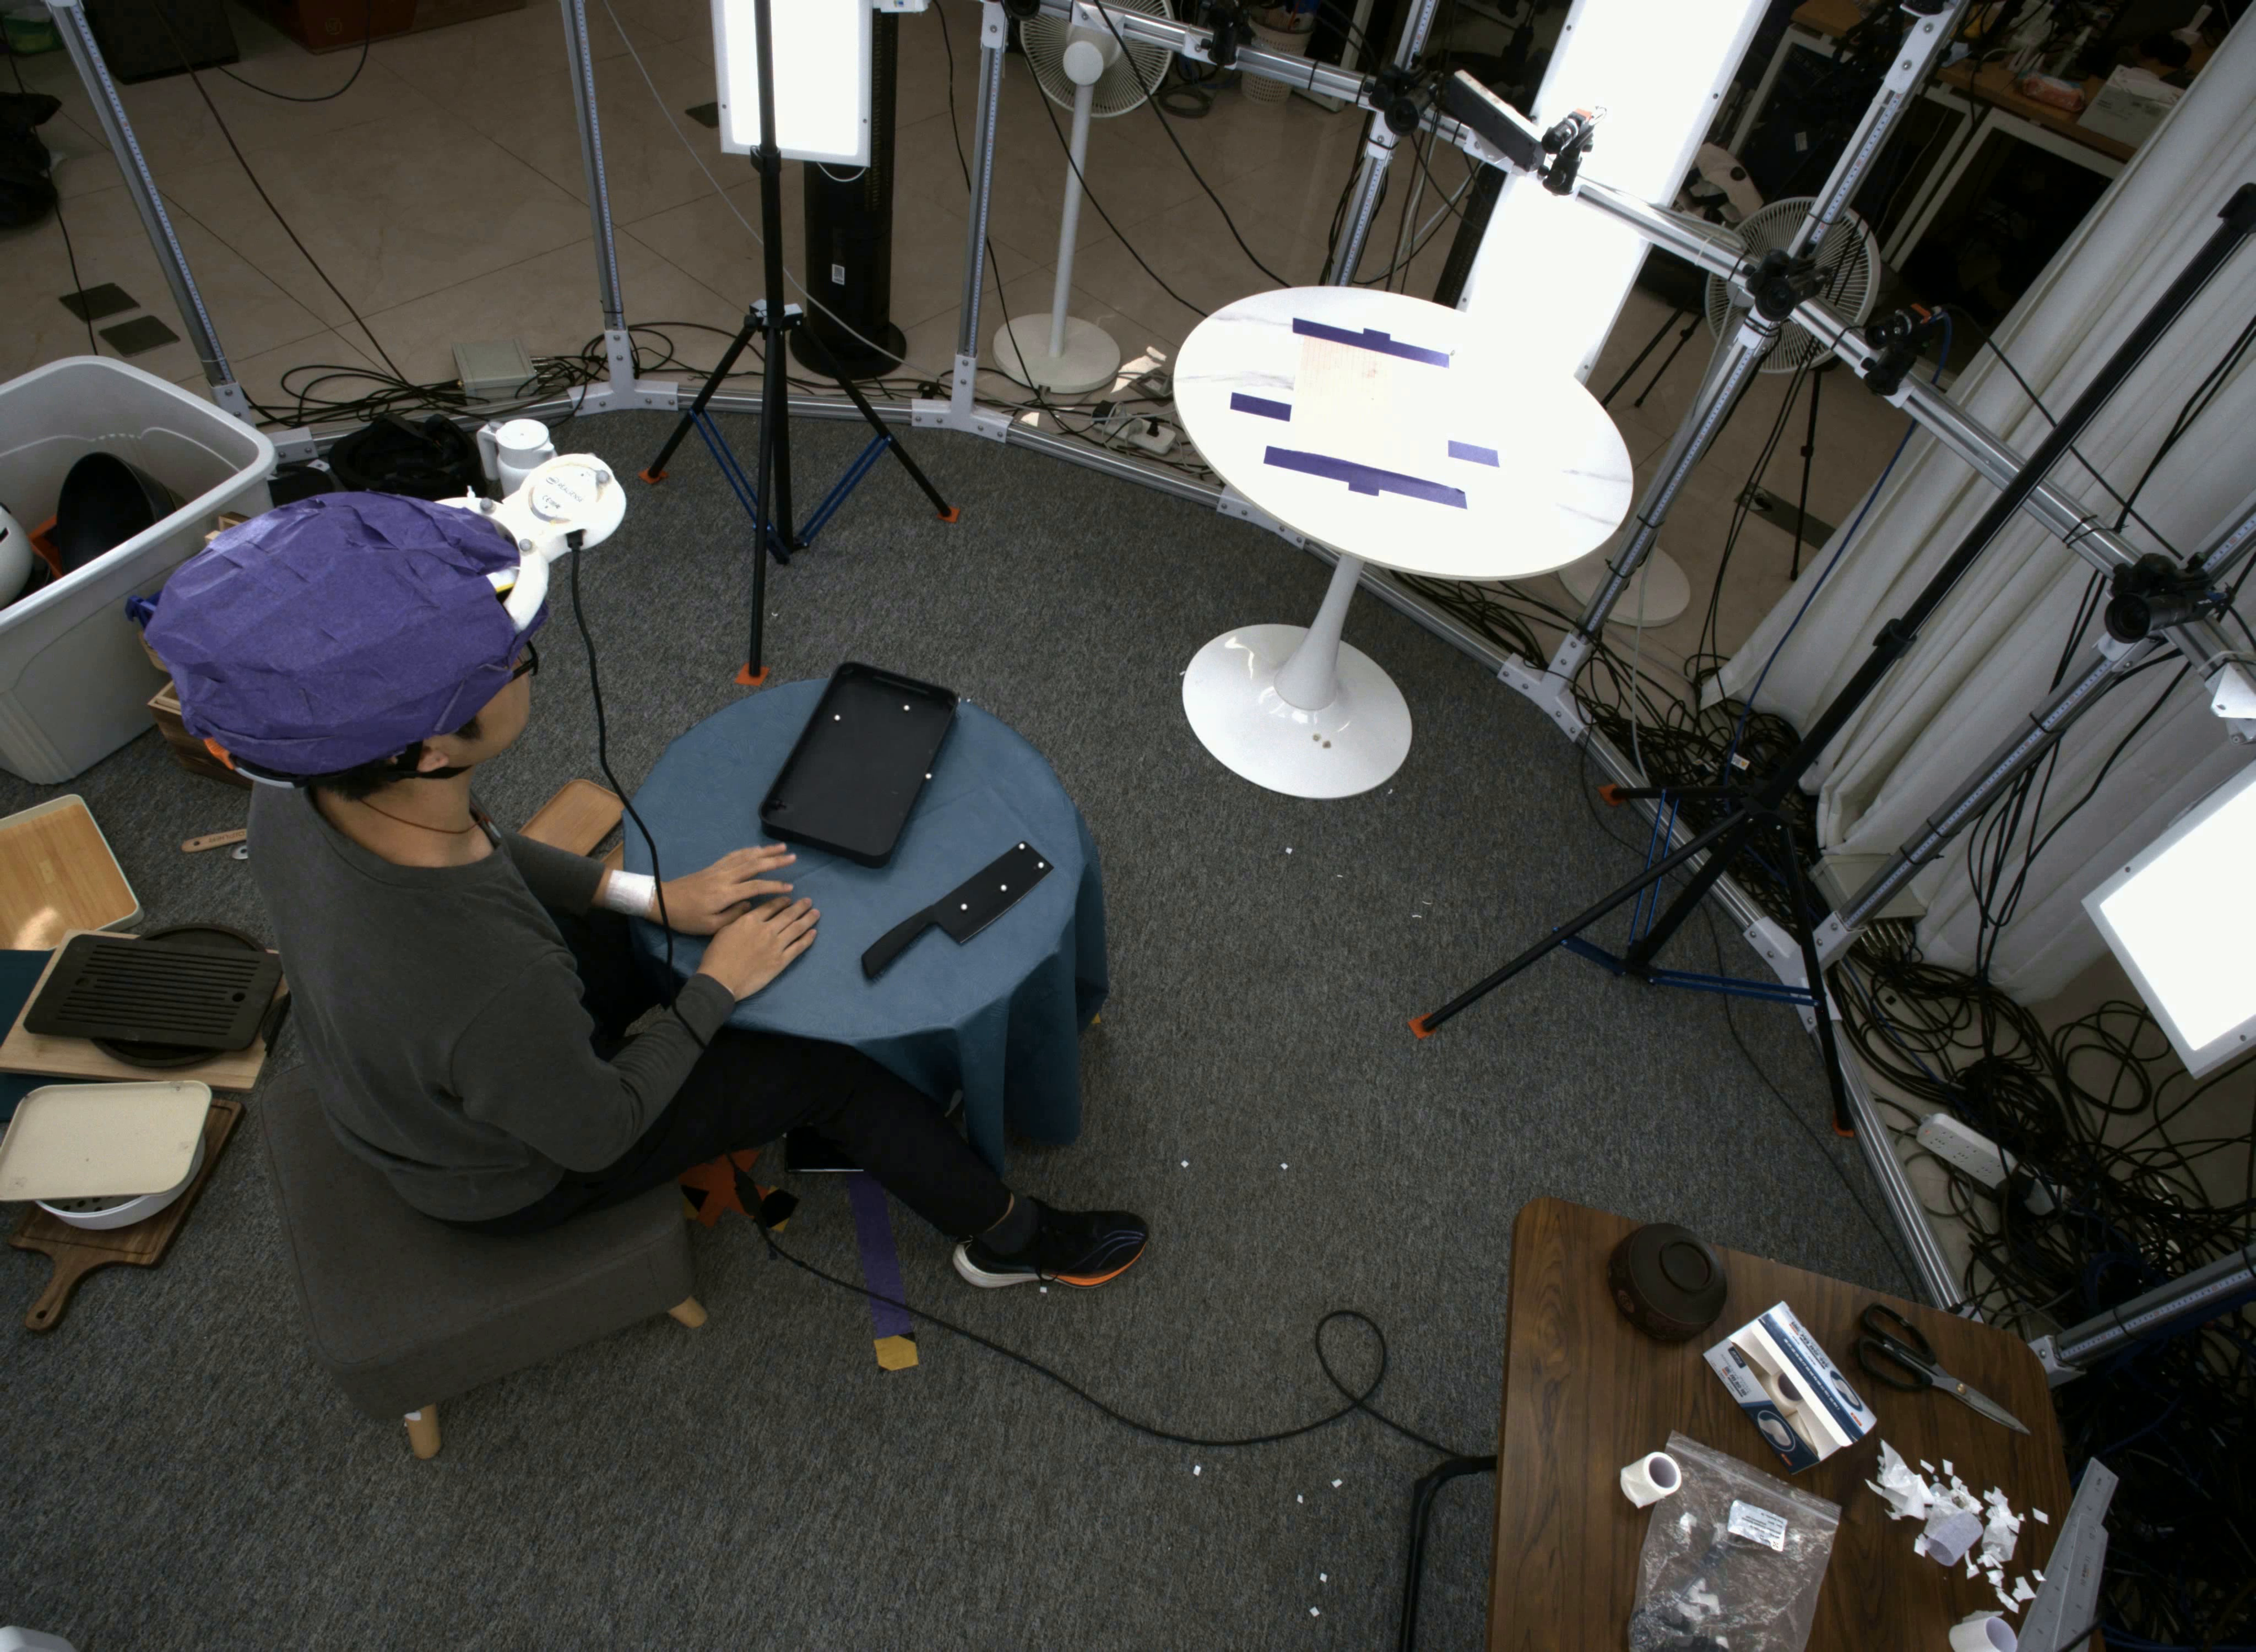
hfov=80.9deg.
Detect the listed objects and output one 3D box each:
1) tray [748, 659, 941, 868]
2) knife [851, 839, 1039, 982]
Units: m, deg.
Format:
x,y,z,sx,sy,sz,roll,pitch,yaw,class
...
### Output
x,y,z,sx,sy,sz,roll,pitch,yaw,class
-0.385,-0.093,1.791,0.183,0.038,0.314,15,52,-2,tray
-0.238,0.110,1.693,0.079,0.021,0.303,44,54,17,knife
